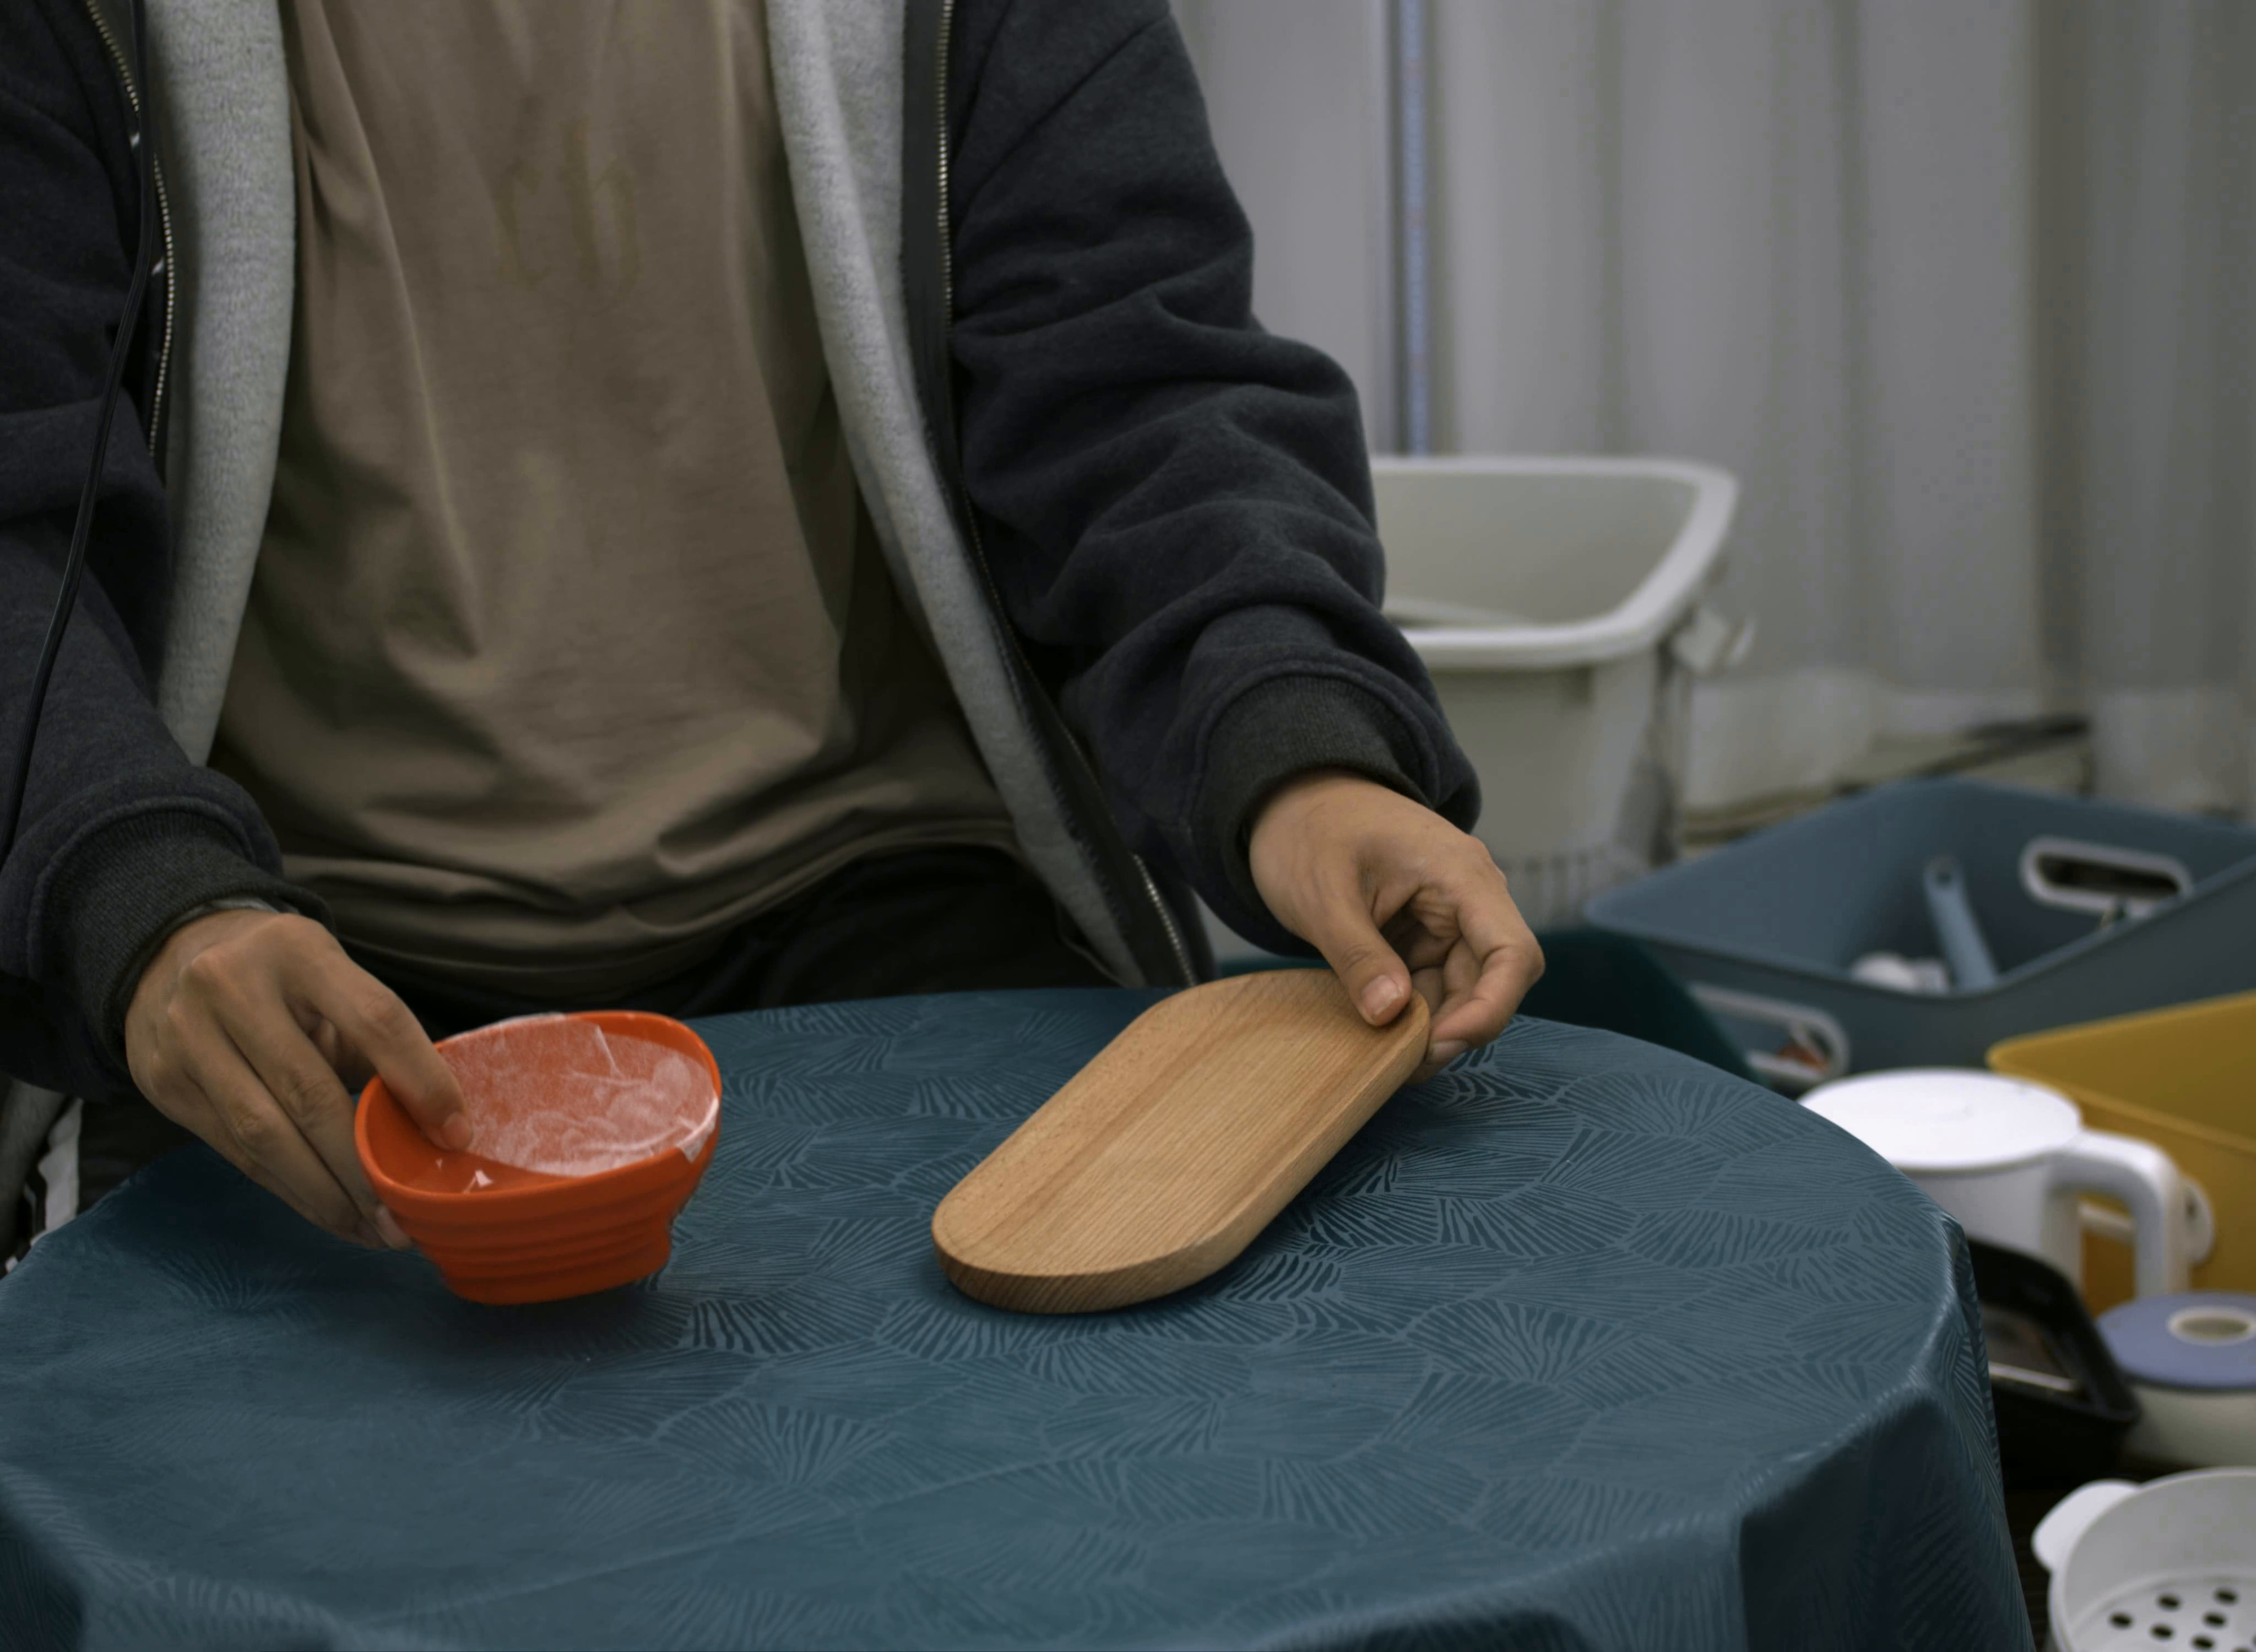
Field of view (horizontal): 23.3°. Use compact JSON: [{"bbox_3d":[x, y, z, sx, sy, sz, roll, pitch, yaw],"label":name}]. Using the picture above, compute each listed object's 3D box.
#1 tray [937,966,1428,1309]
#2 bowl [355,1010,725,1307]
[{"bbox_3d":[0.020,0.095,1.705,0.102,0.020,0.232,2,21,25],"label":"tray"},{"bbox_3d":[-0.172,0.103,1.636,0.118,0.051,0.120,-6,25,2],"label":"bowl"}]
